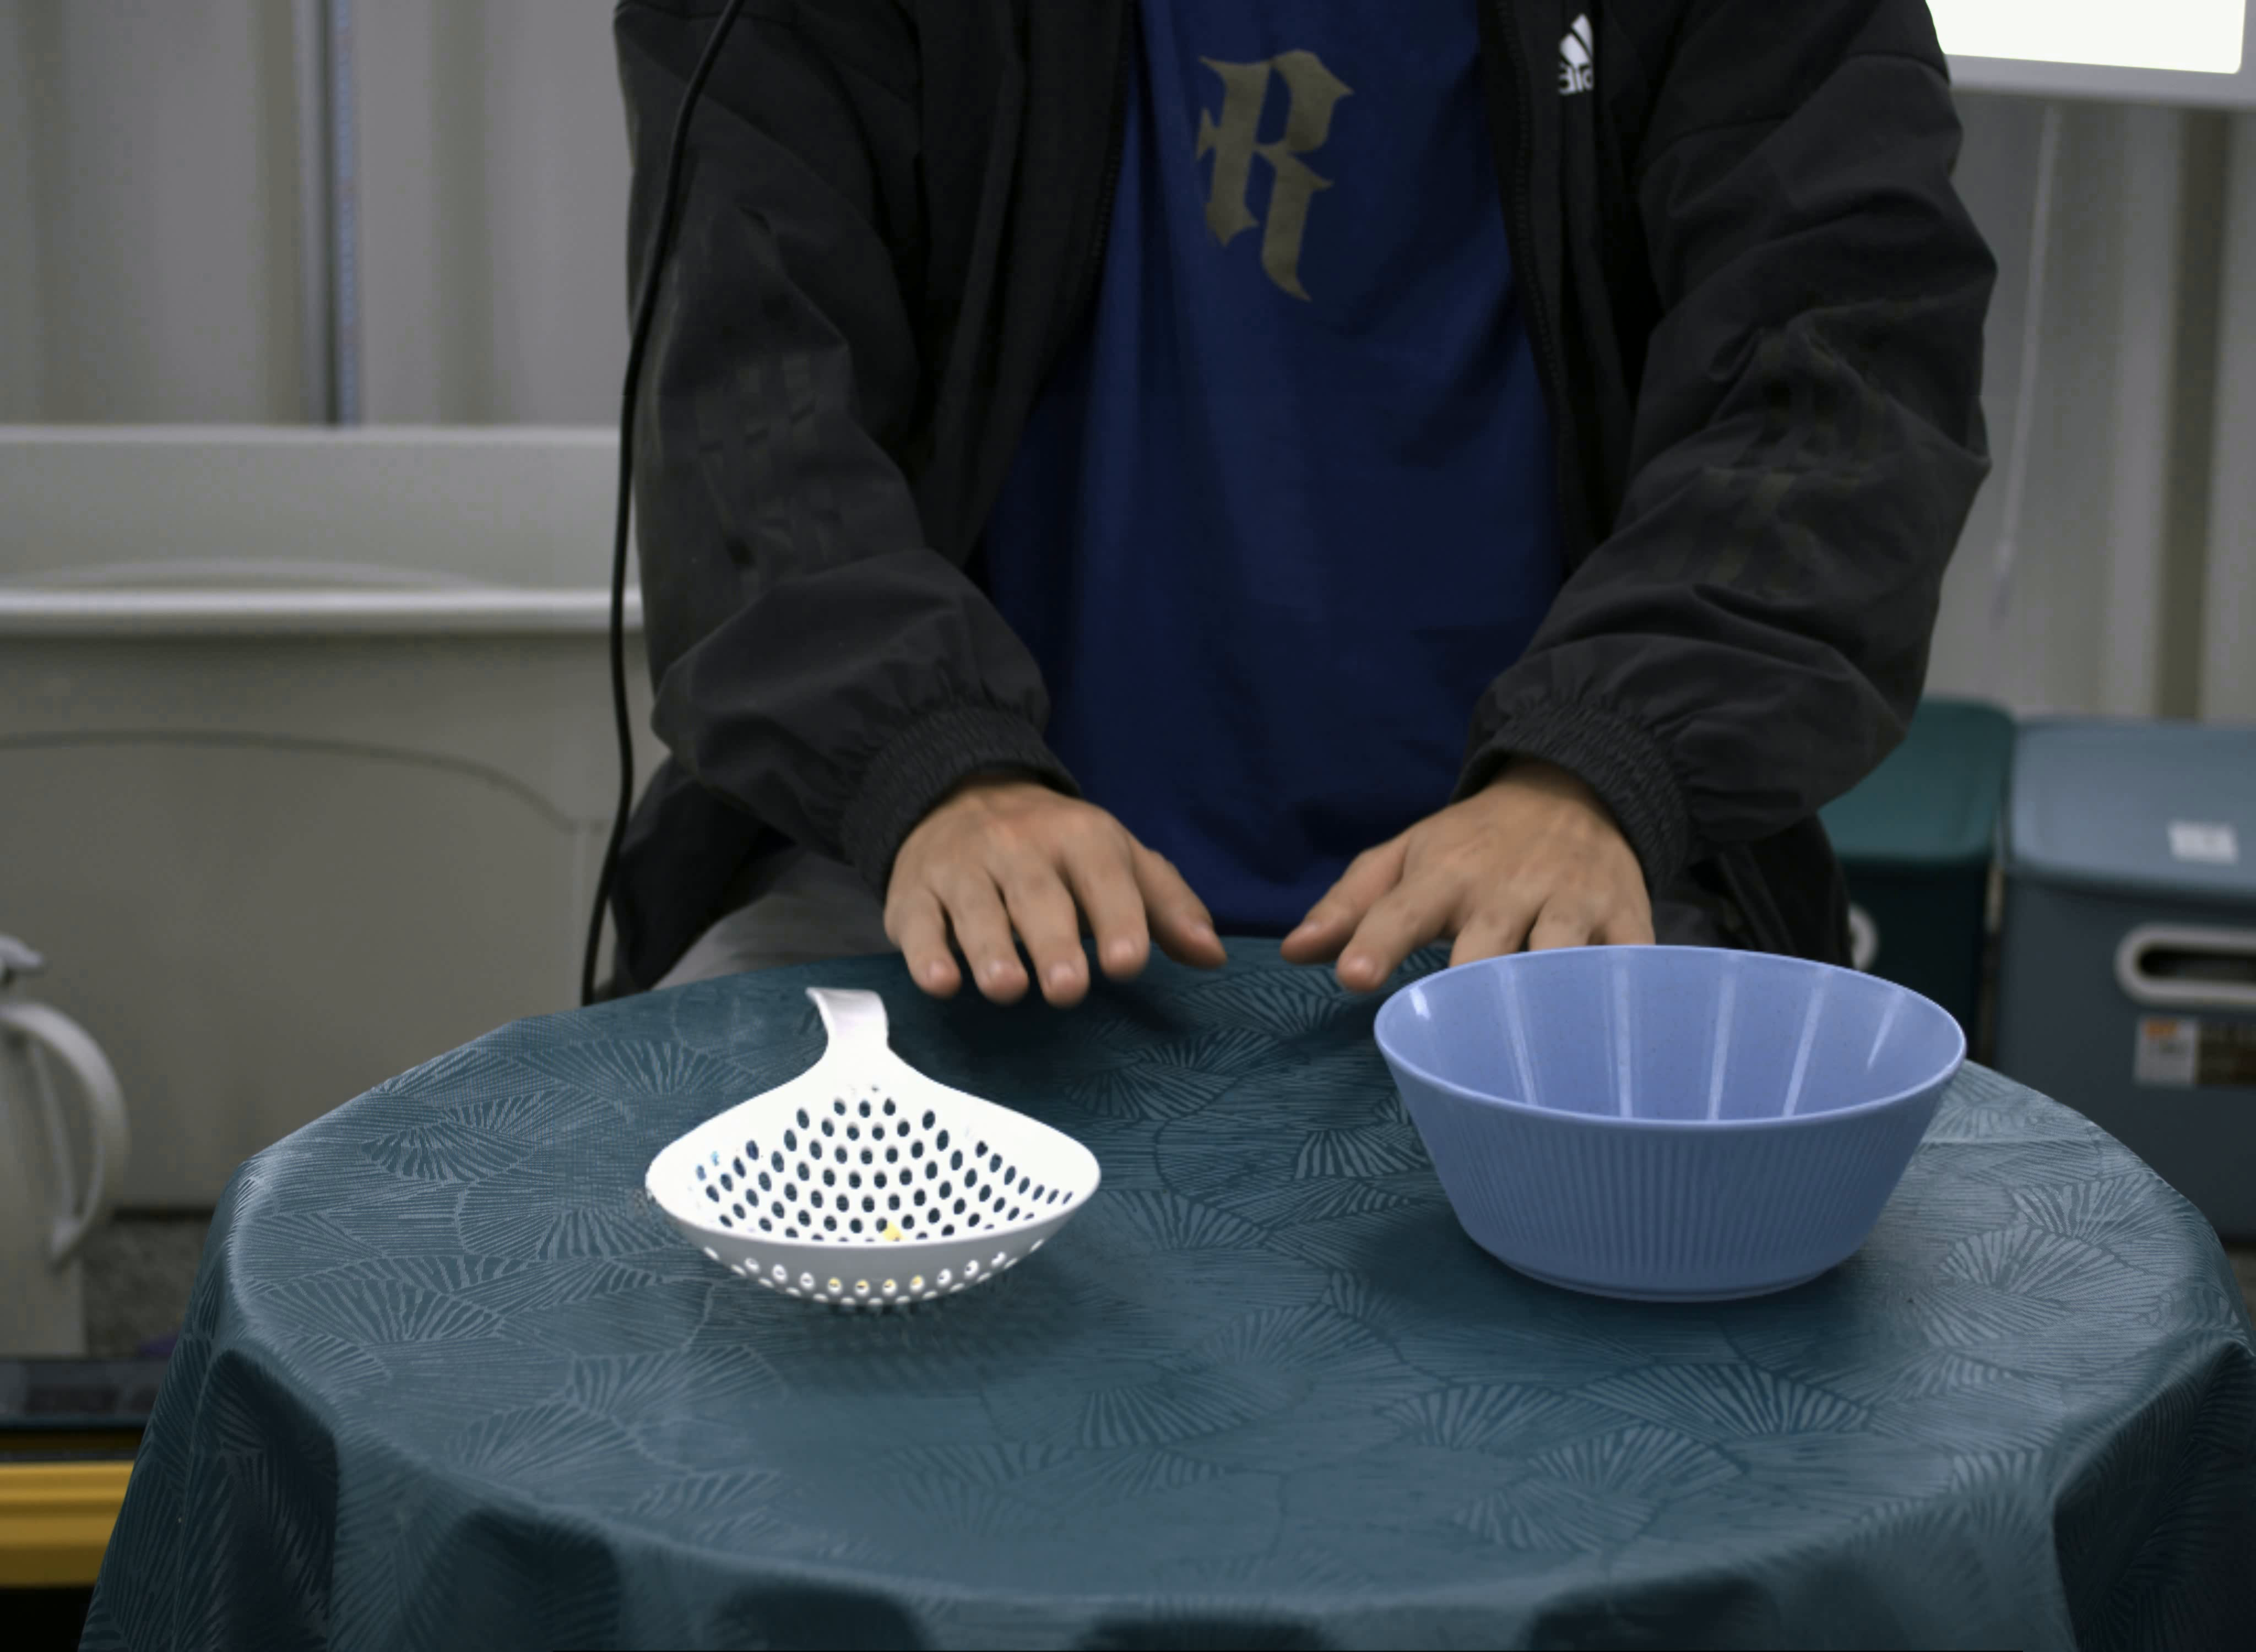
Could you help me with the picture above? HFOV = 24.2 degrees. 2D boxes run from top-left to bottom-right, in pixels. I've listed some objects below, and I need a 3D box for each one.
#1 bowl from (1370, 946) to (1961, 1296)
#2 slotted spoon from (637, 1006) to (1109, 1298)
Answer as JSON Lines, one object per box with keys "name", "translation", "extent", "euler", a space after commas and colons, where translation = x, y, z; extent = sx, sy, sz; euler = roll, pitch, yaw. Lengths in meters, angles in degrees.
{"name": "bowl", "translation": [0.159, 0.090, 1.575], "extent": [0.175, 0.071, 0.175], "euler": [1, 15, 0]}
{"name": "slotted spoon", "translation": [-0.084, 0.087, 1.633], "extent": [0.136, 0.051, 0.345], "euler": [-4, 15, -5]}
